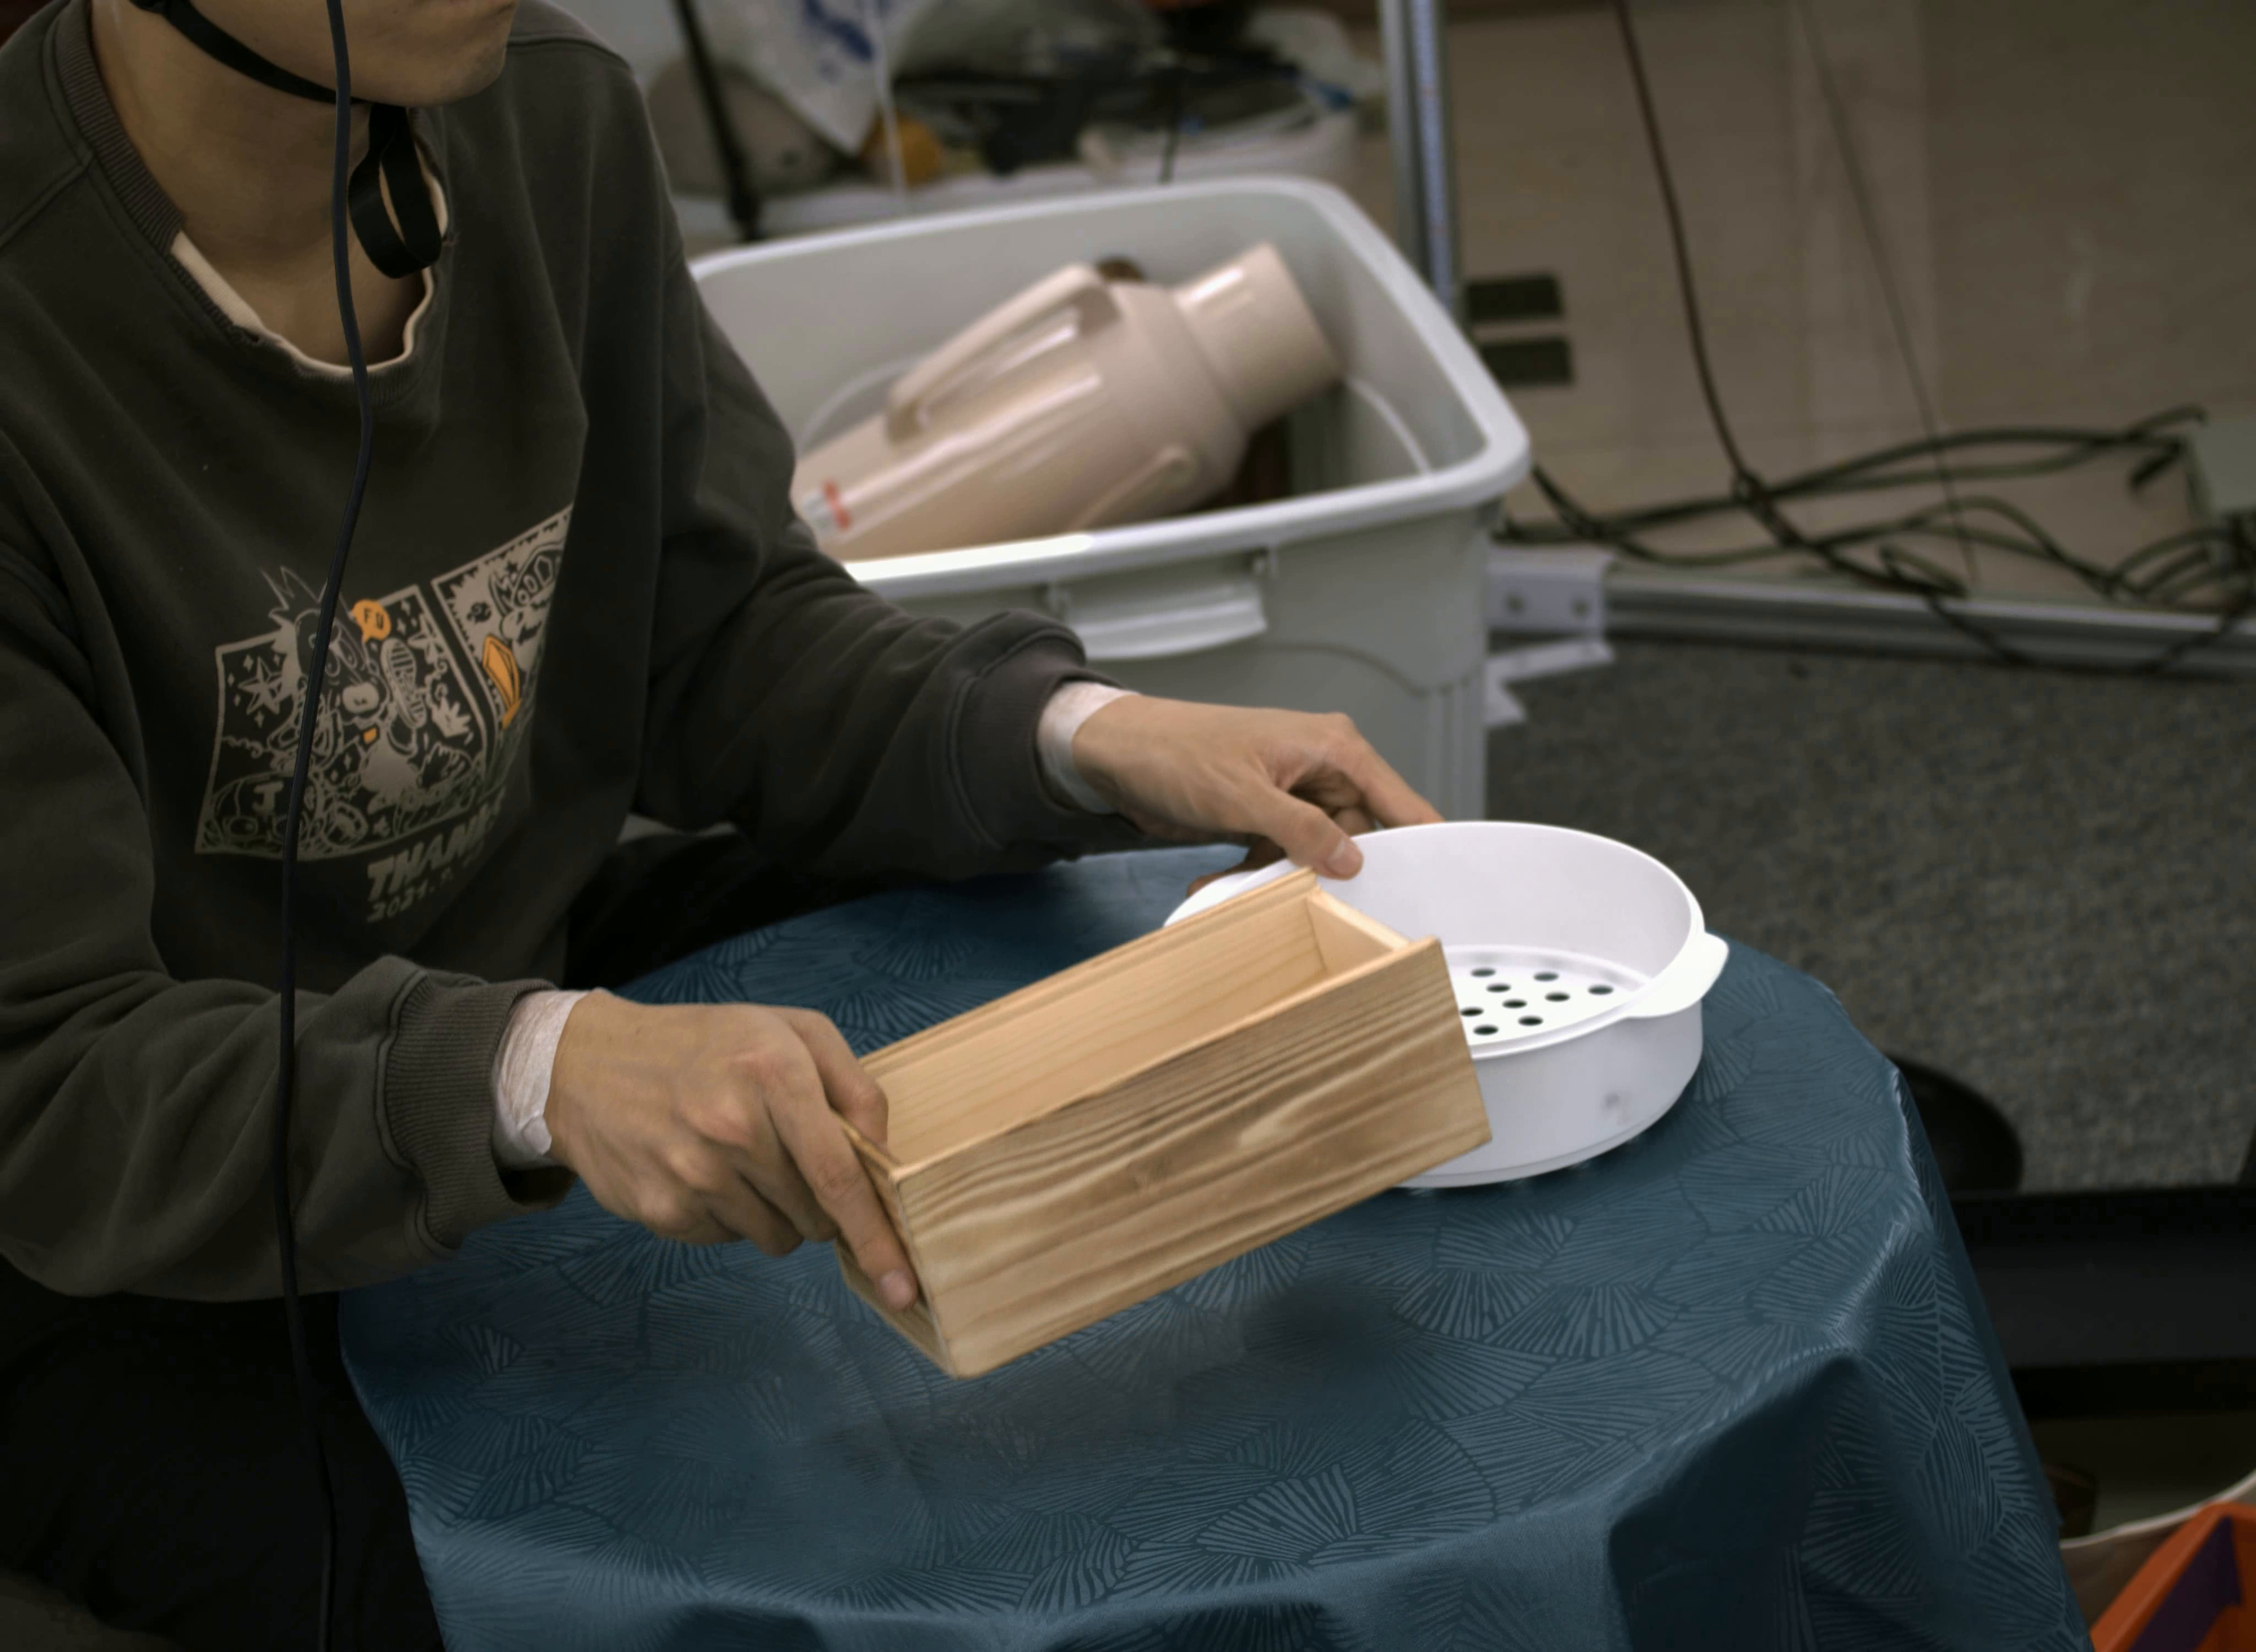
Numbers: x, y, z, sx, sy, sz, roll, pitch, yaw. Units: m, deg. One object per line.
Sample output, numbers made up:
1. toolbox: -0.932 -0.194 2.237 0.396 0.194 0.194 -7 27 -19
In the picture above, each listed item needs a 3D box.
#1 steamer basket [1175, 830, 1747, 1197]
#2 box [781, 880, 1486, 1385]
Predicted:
1. steamer basket: 0.129 0.072 2.182 0.230 0.070 0.199 6 28 30
2. box: 0.002 0.104 1.972 0.210 0.081 0.106 -23 23 -17
